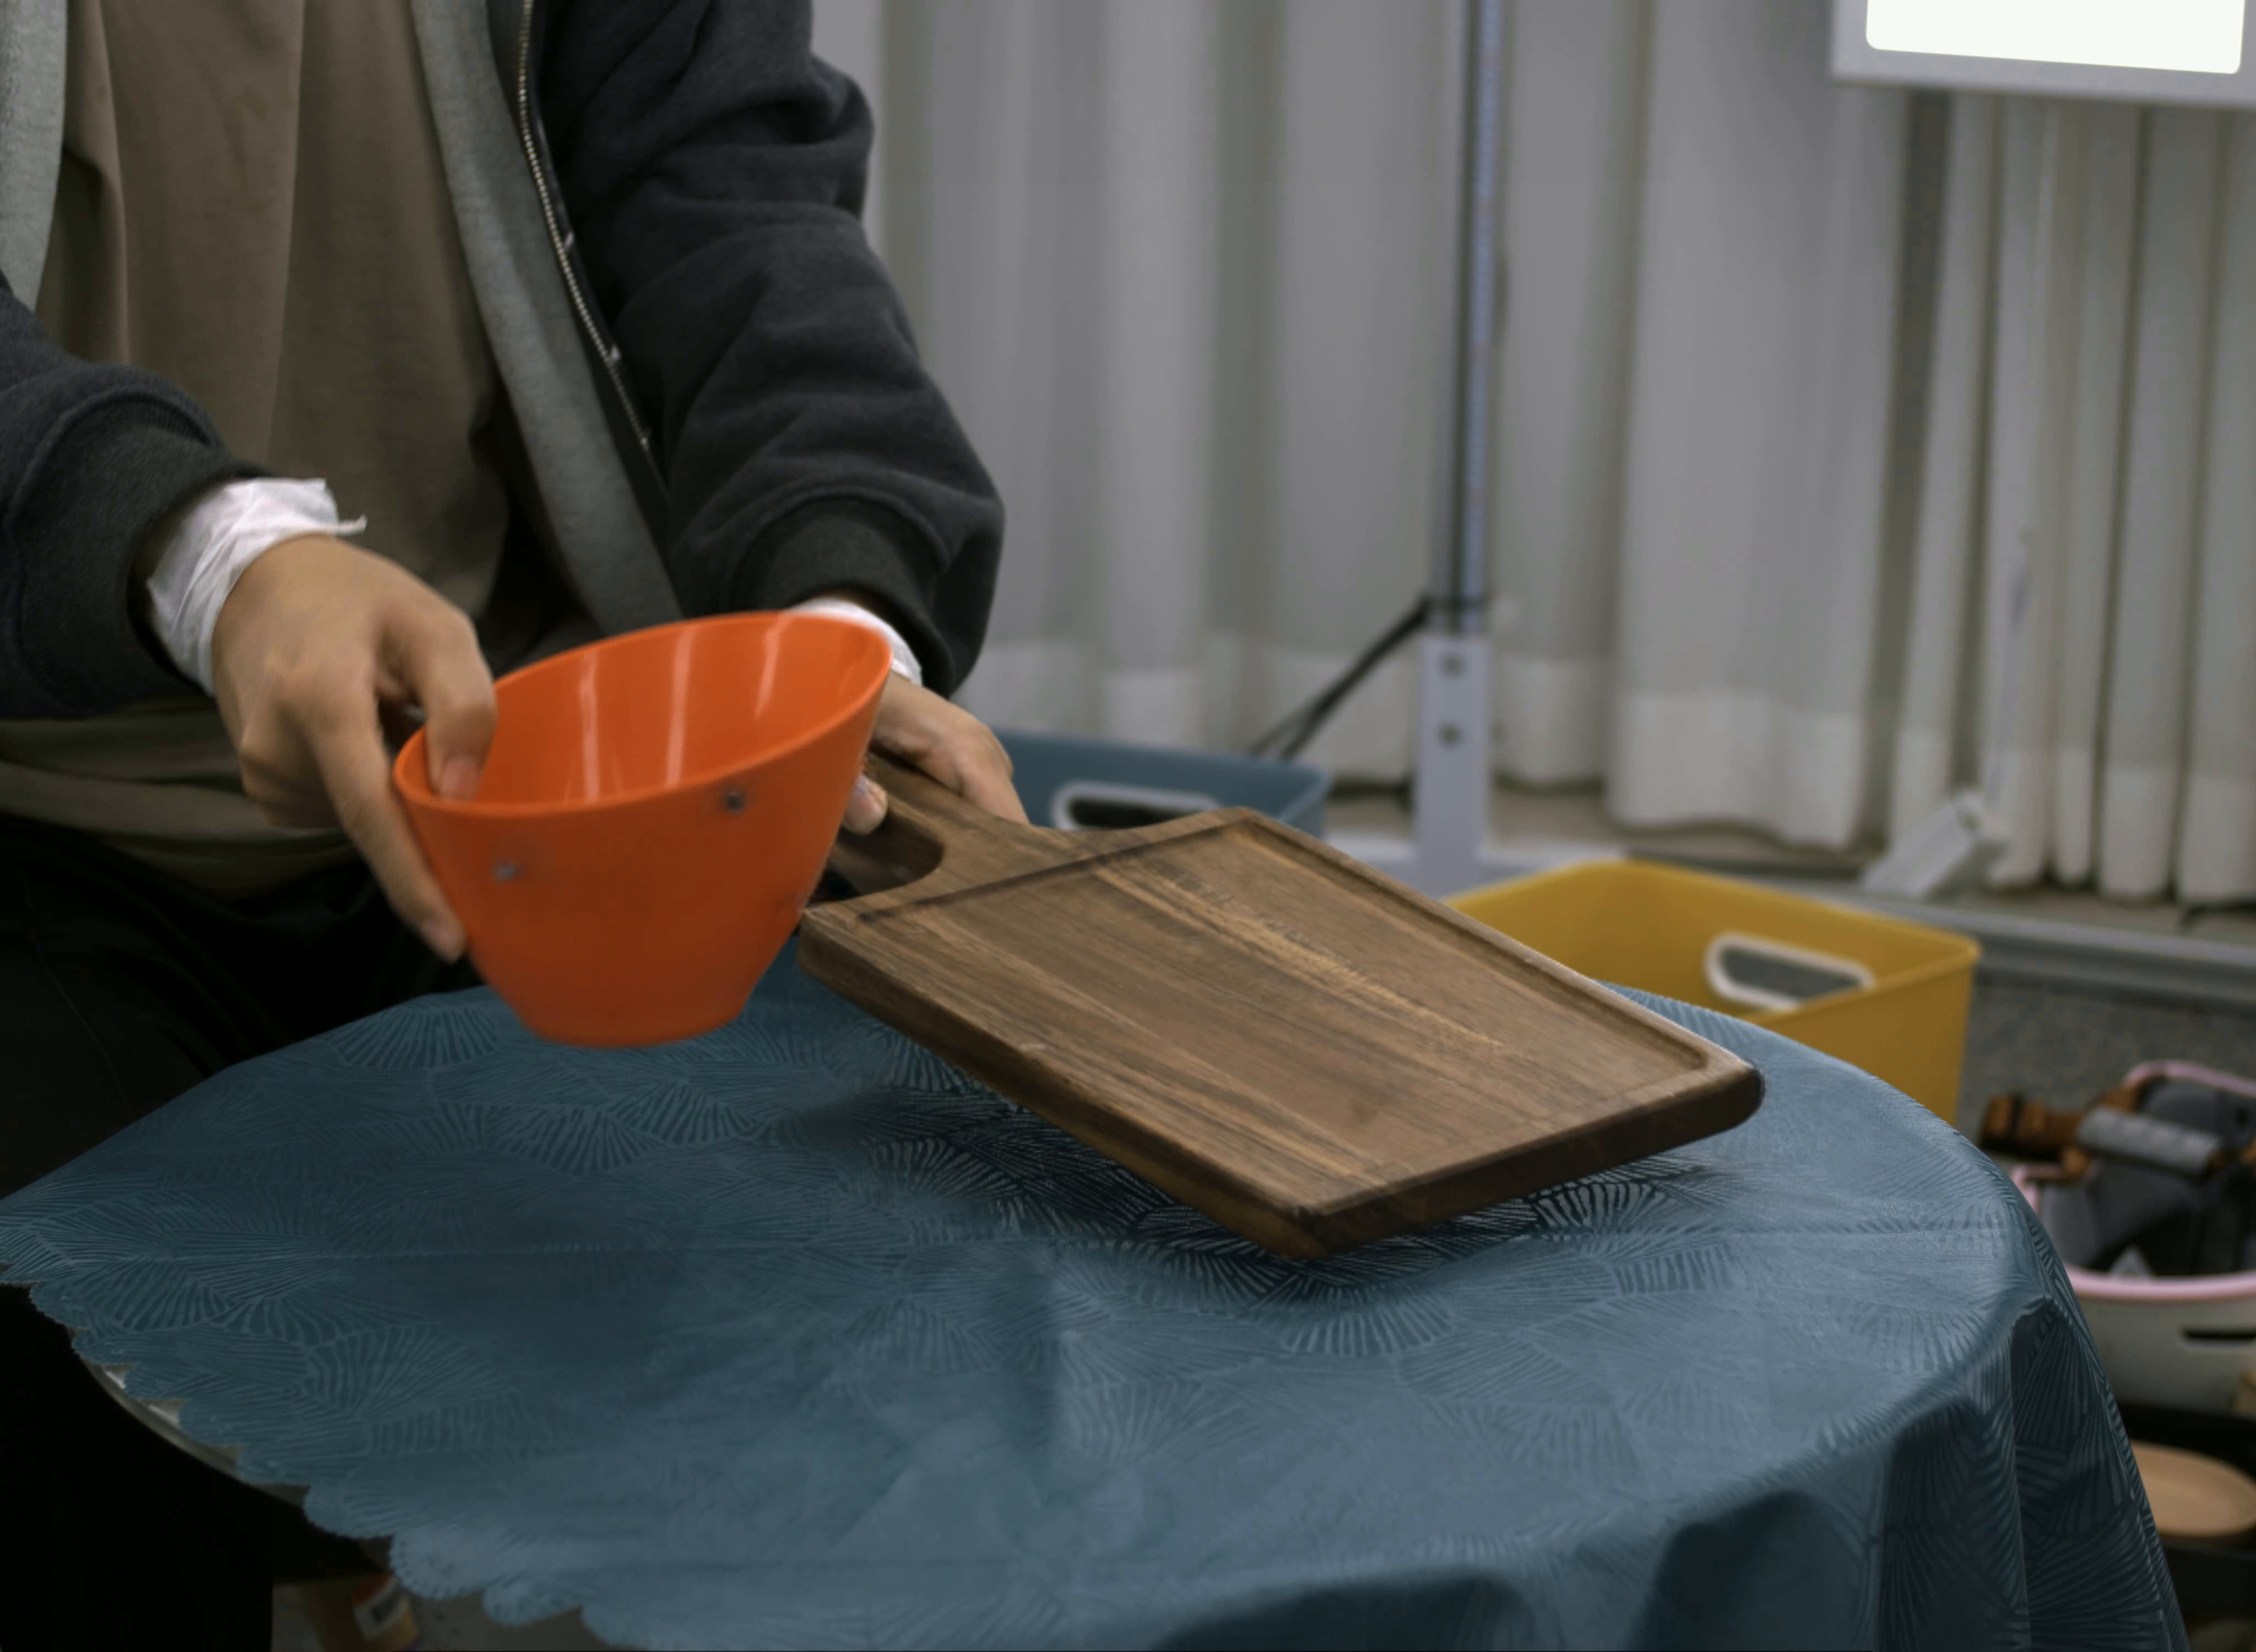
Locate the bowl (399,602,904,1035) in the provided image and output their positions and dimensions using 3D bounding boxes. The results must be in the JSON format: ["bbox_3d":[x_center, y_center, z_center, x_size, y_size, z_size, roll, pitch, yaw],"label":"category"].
[{"bbox_3d":[-0.136,0.000,1.536,0.147,0.105,0.147,-2,18,1],"label":"bowl"}]

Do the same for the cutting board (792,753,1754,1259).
[{"bbox_3d":[0.012,0.042,1.695,0.202,0.023,0.347,-14,29,-39],"label":"cutting board"}]
